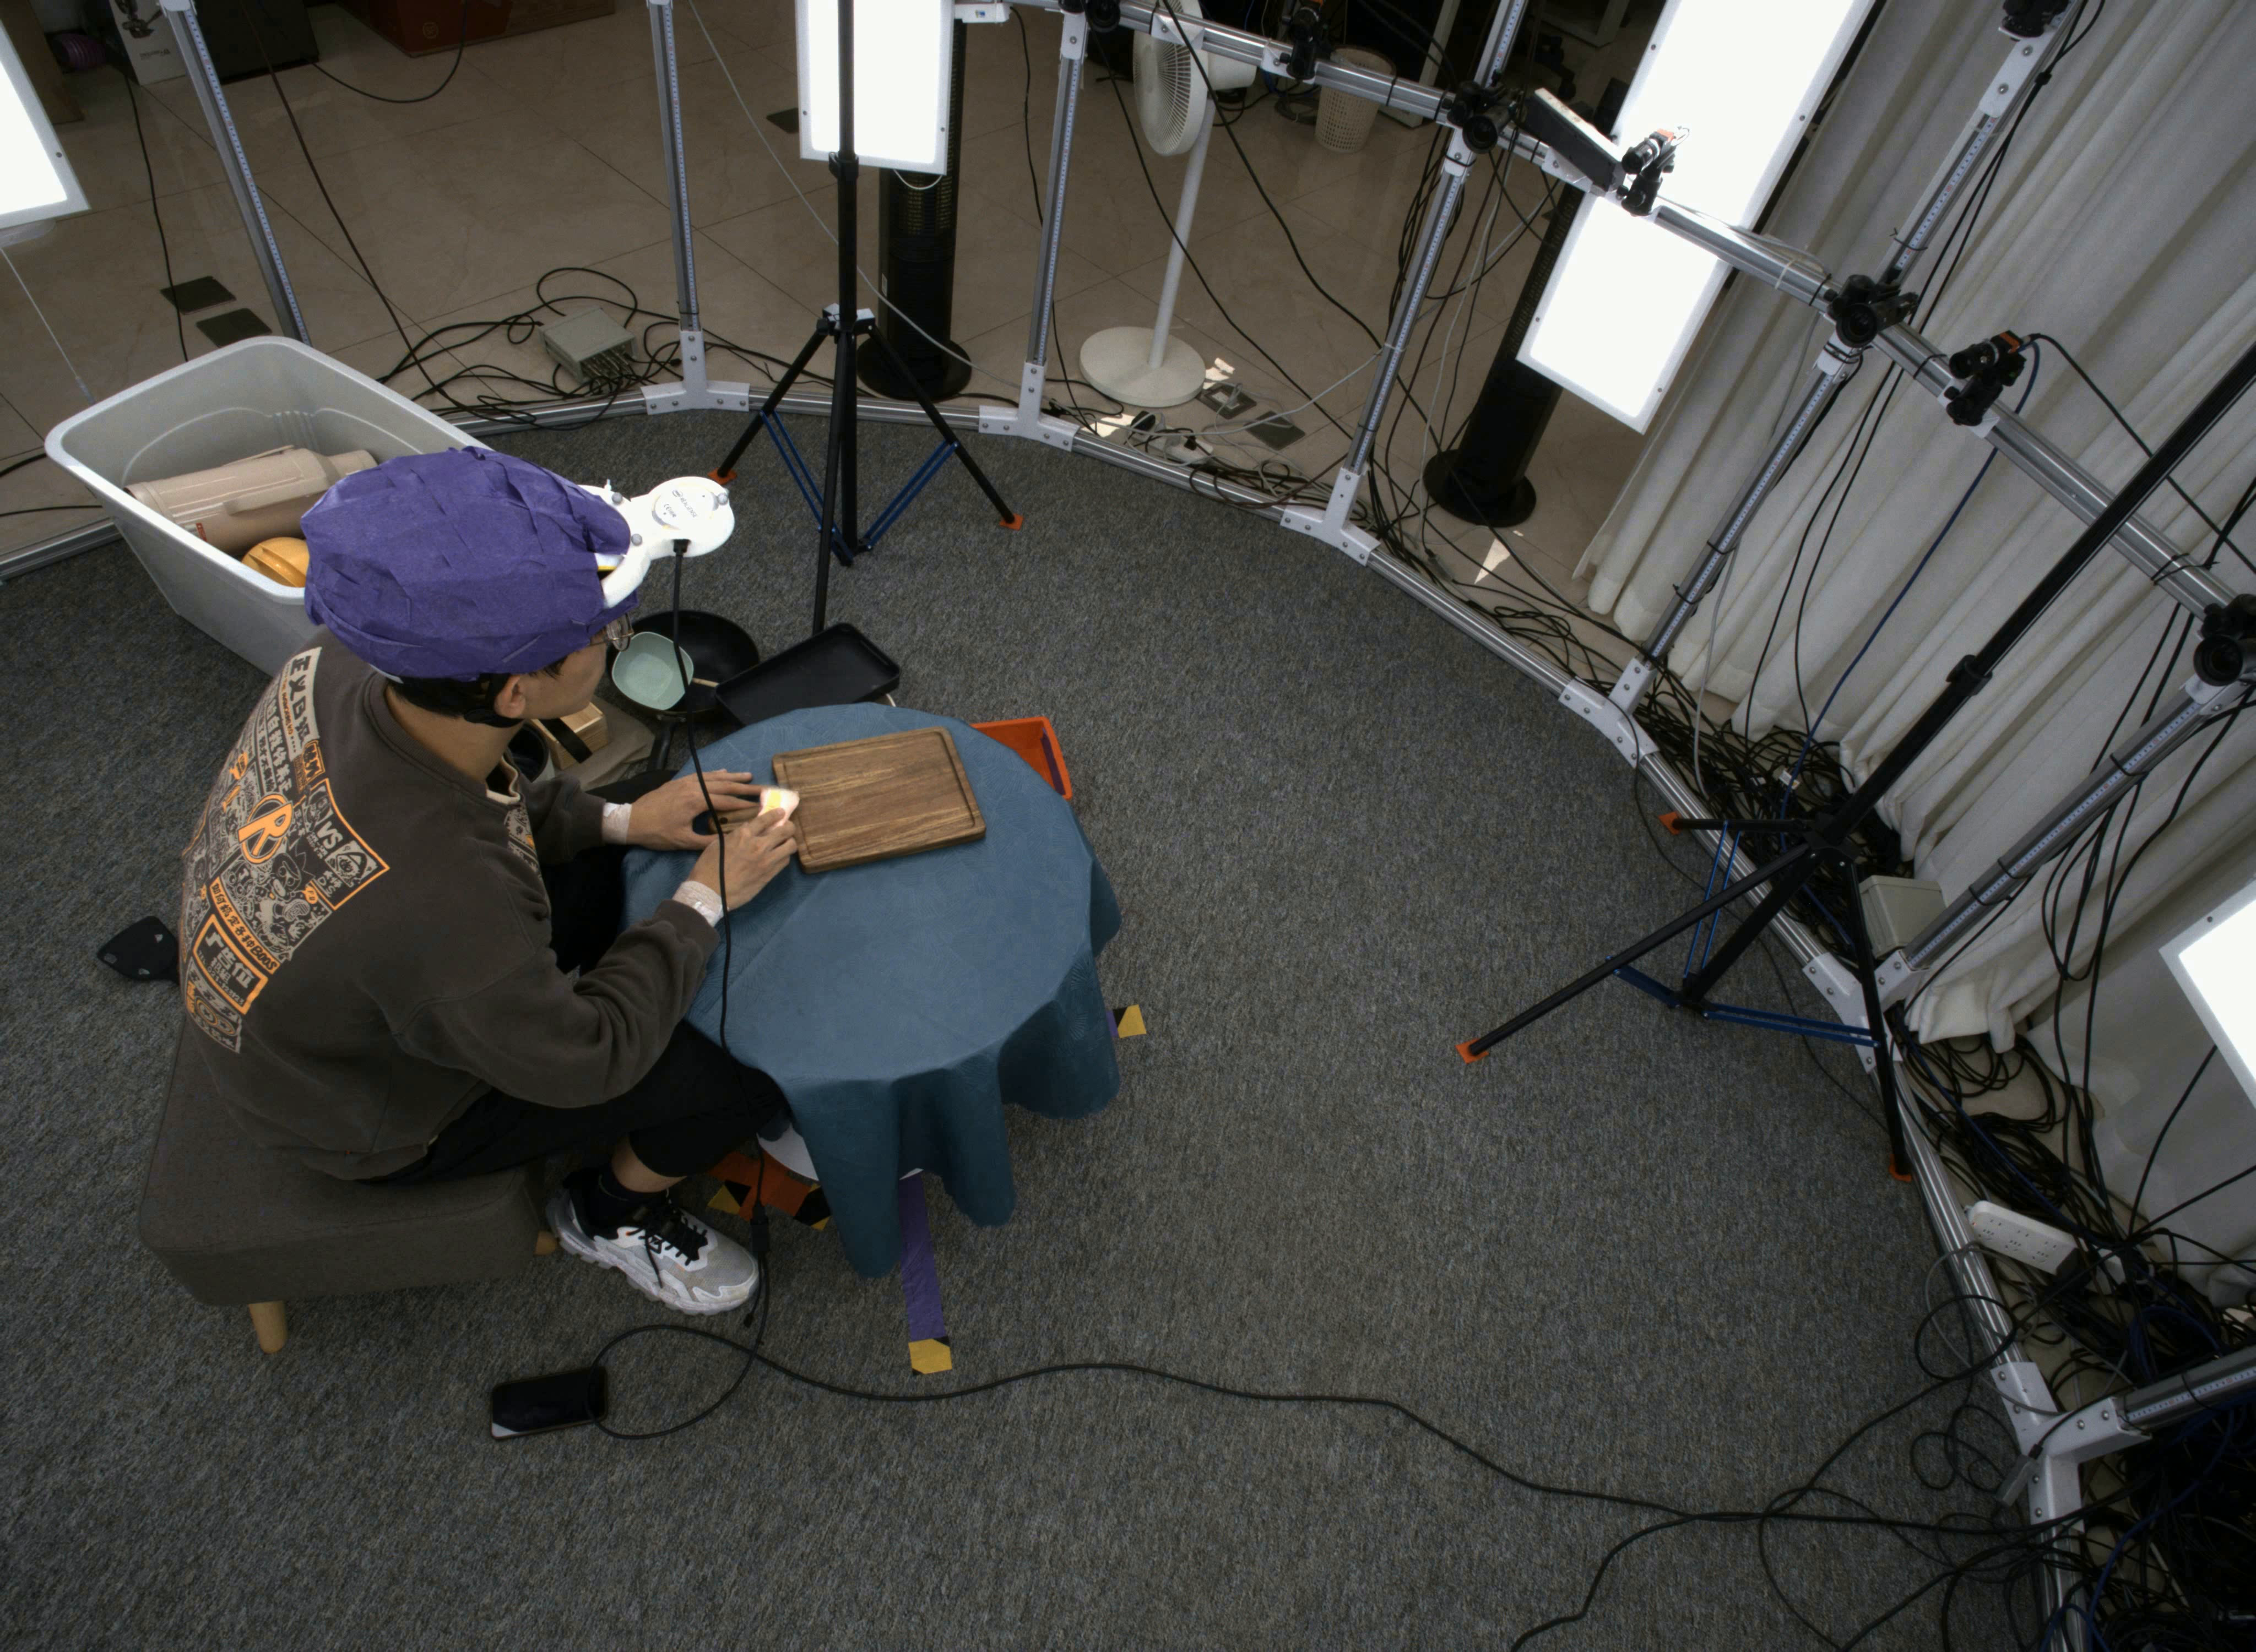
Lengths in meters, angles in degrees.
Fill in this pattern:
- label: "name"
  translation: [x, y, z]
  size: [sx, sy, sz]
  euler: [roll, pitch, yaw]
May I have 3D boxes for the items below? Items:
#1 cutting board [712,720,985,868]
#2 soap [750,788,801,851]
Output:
- label: "cutting board"
  translation: [-0.387, -0.040, 1.764]
  size: [0.353, 0.023, 0.196]
  euler: [-11, 58, -21]
- label: "soap"
  translation: [-0.462, -0.011, 1.696]
  size: [0.050, 0.031, 0.093]
  euler: [11, 55, -3]
